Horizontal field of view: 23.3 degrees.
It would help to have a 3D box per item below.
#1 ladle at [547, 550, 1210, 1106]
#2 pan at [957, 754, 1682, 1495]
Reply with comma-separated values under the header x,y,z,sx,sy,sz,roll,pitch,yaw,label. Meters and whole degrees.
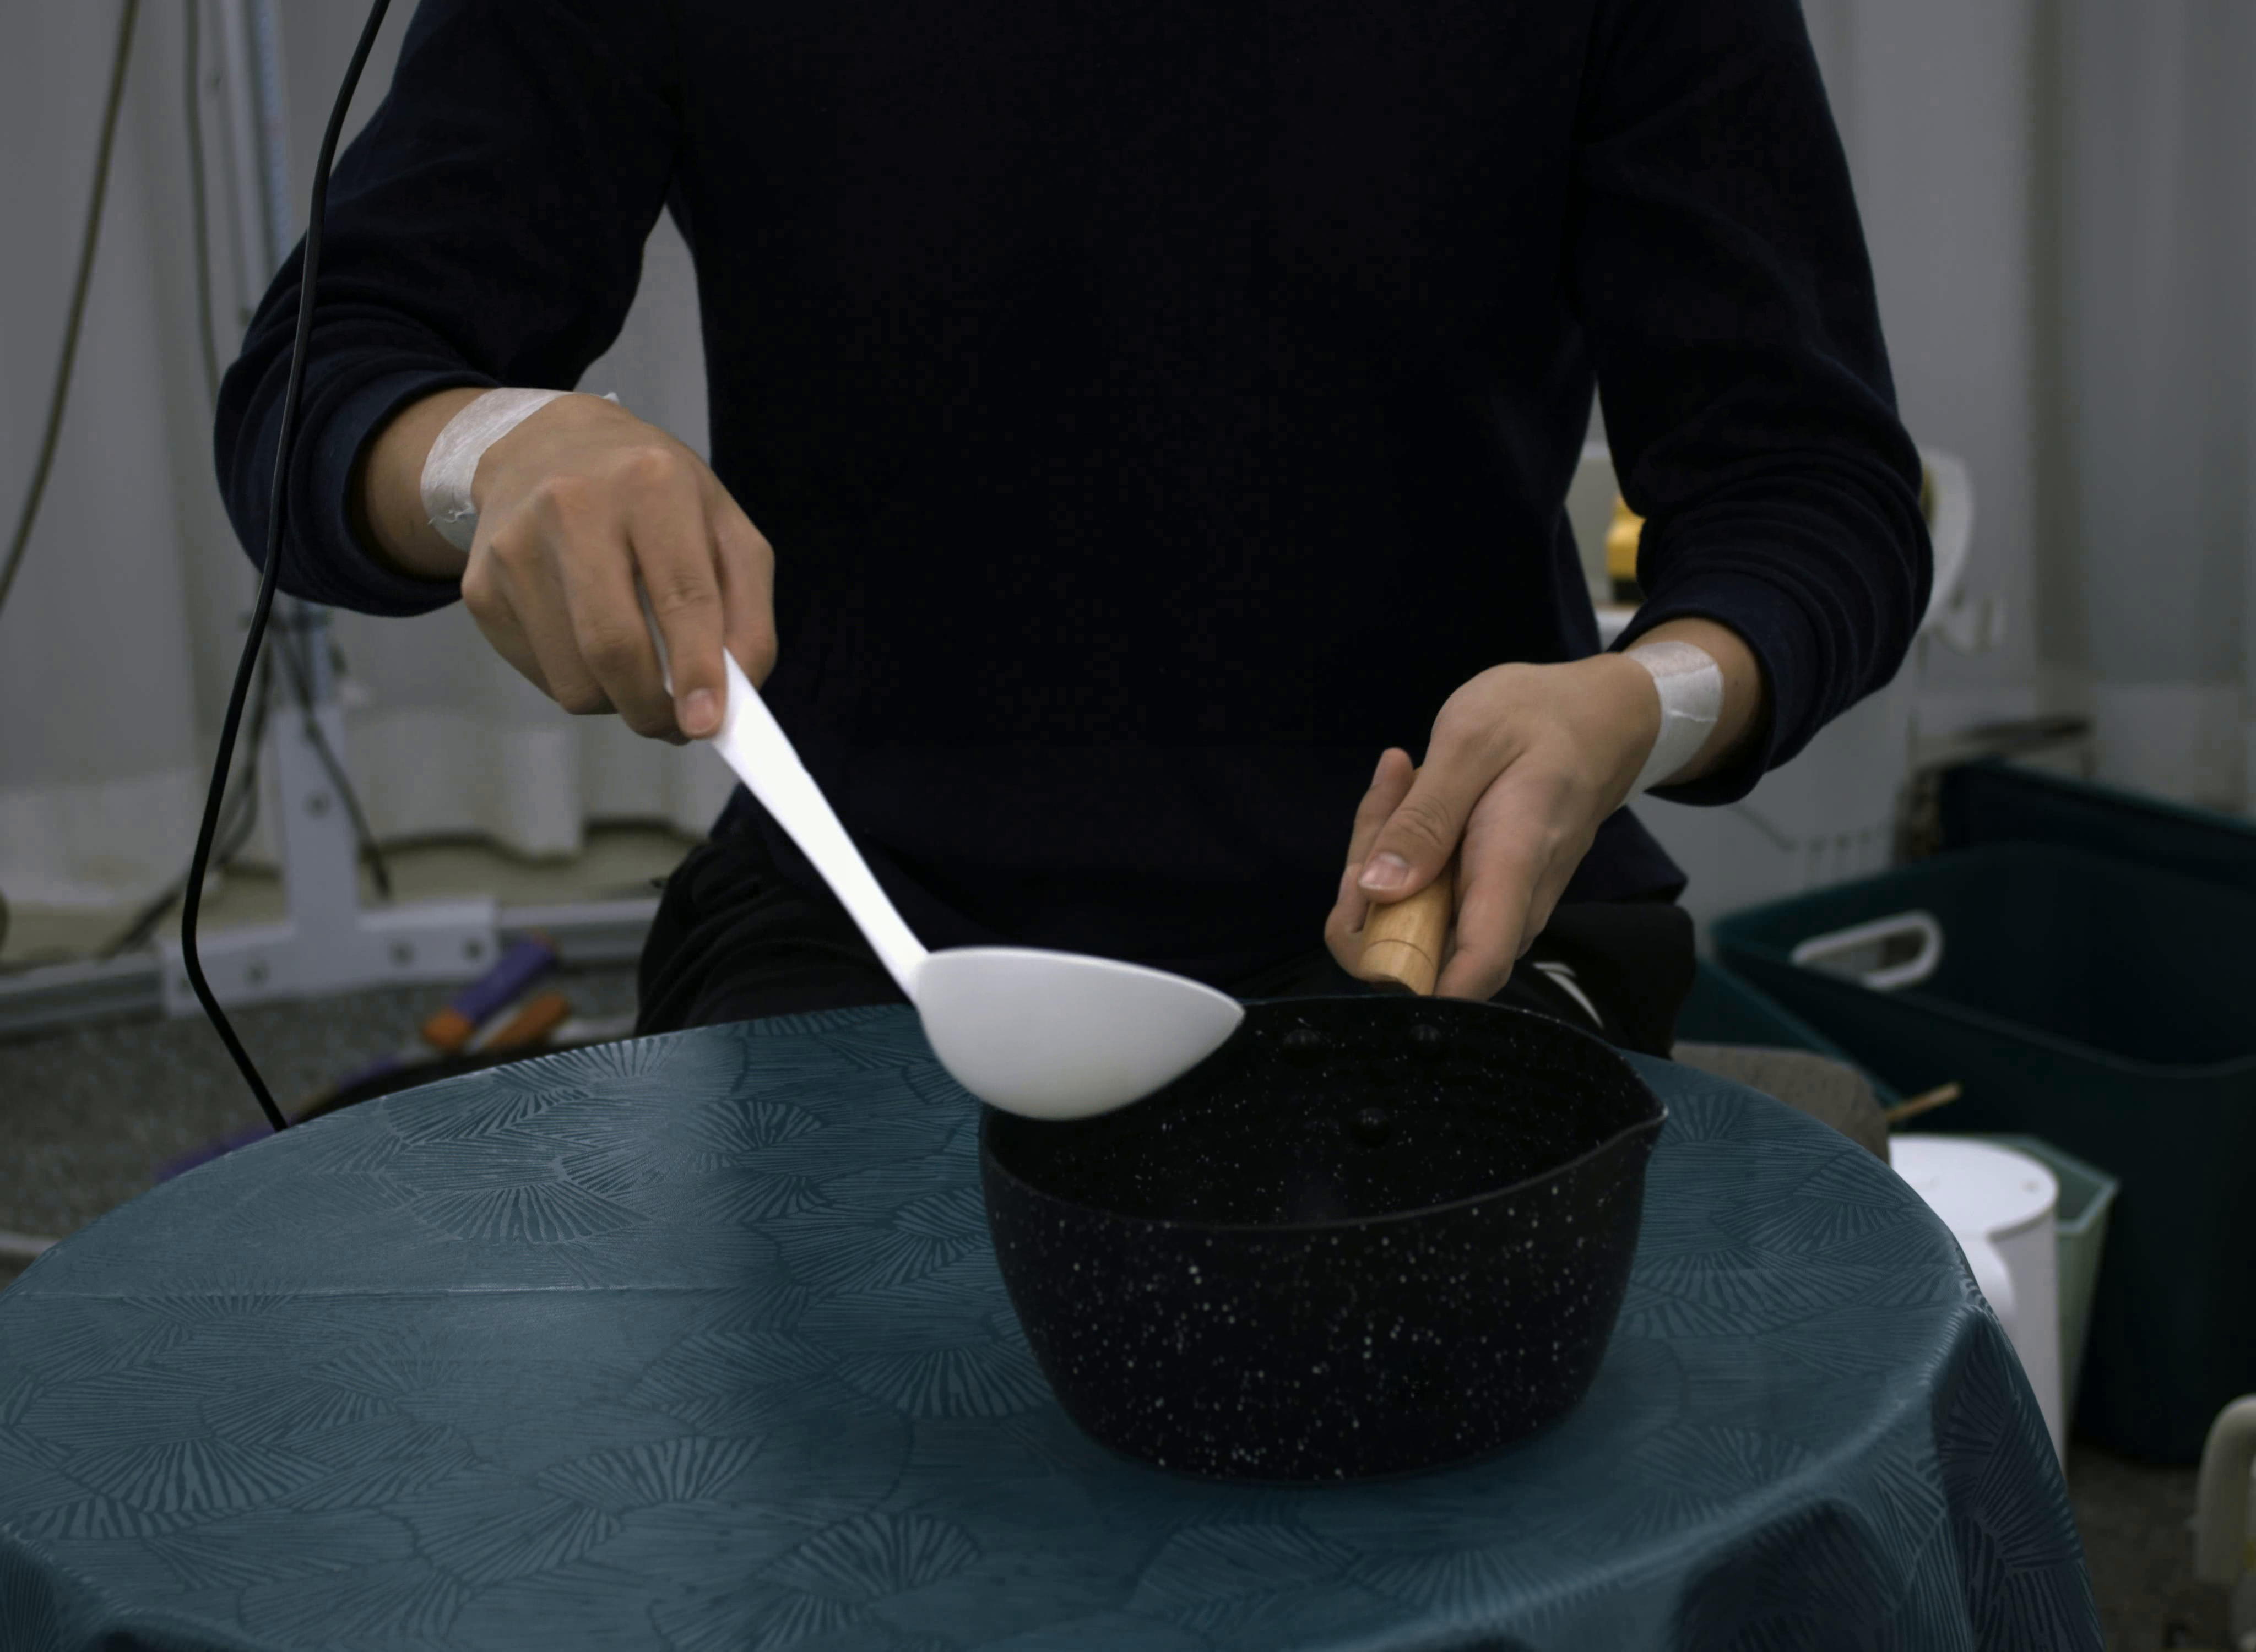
x,y,z,sx,sy,sz,roll,pitch,yaw,label
-0.081,-0.012,1.522,0.089,0.069,0.297,10,24,-38,ladle
0.067,0.082,1.597,0.207,0.107,0.345,-2,18,12,pan
